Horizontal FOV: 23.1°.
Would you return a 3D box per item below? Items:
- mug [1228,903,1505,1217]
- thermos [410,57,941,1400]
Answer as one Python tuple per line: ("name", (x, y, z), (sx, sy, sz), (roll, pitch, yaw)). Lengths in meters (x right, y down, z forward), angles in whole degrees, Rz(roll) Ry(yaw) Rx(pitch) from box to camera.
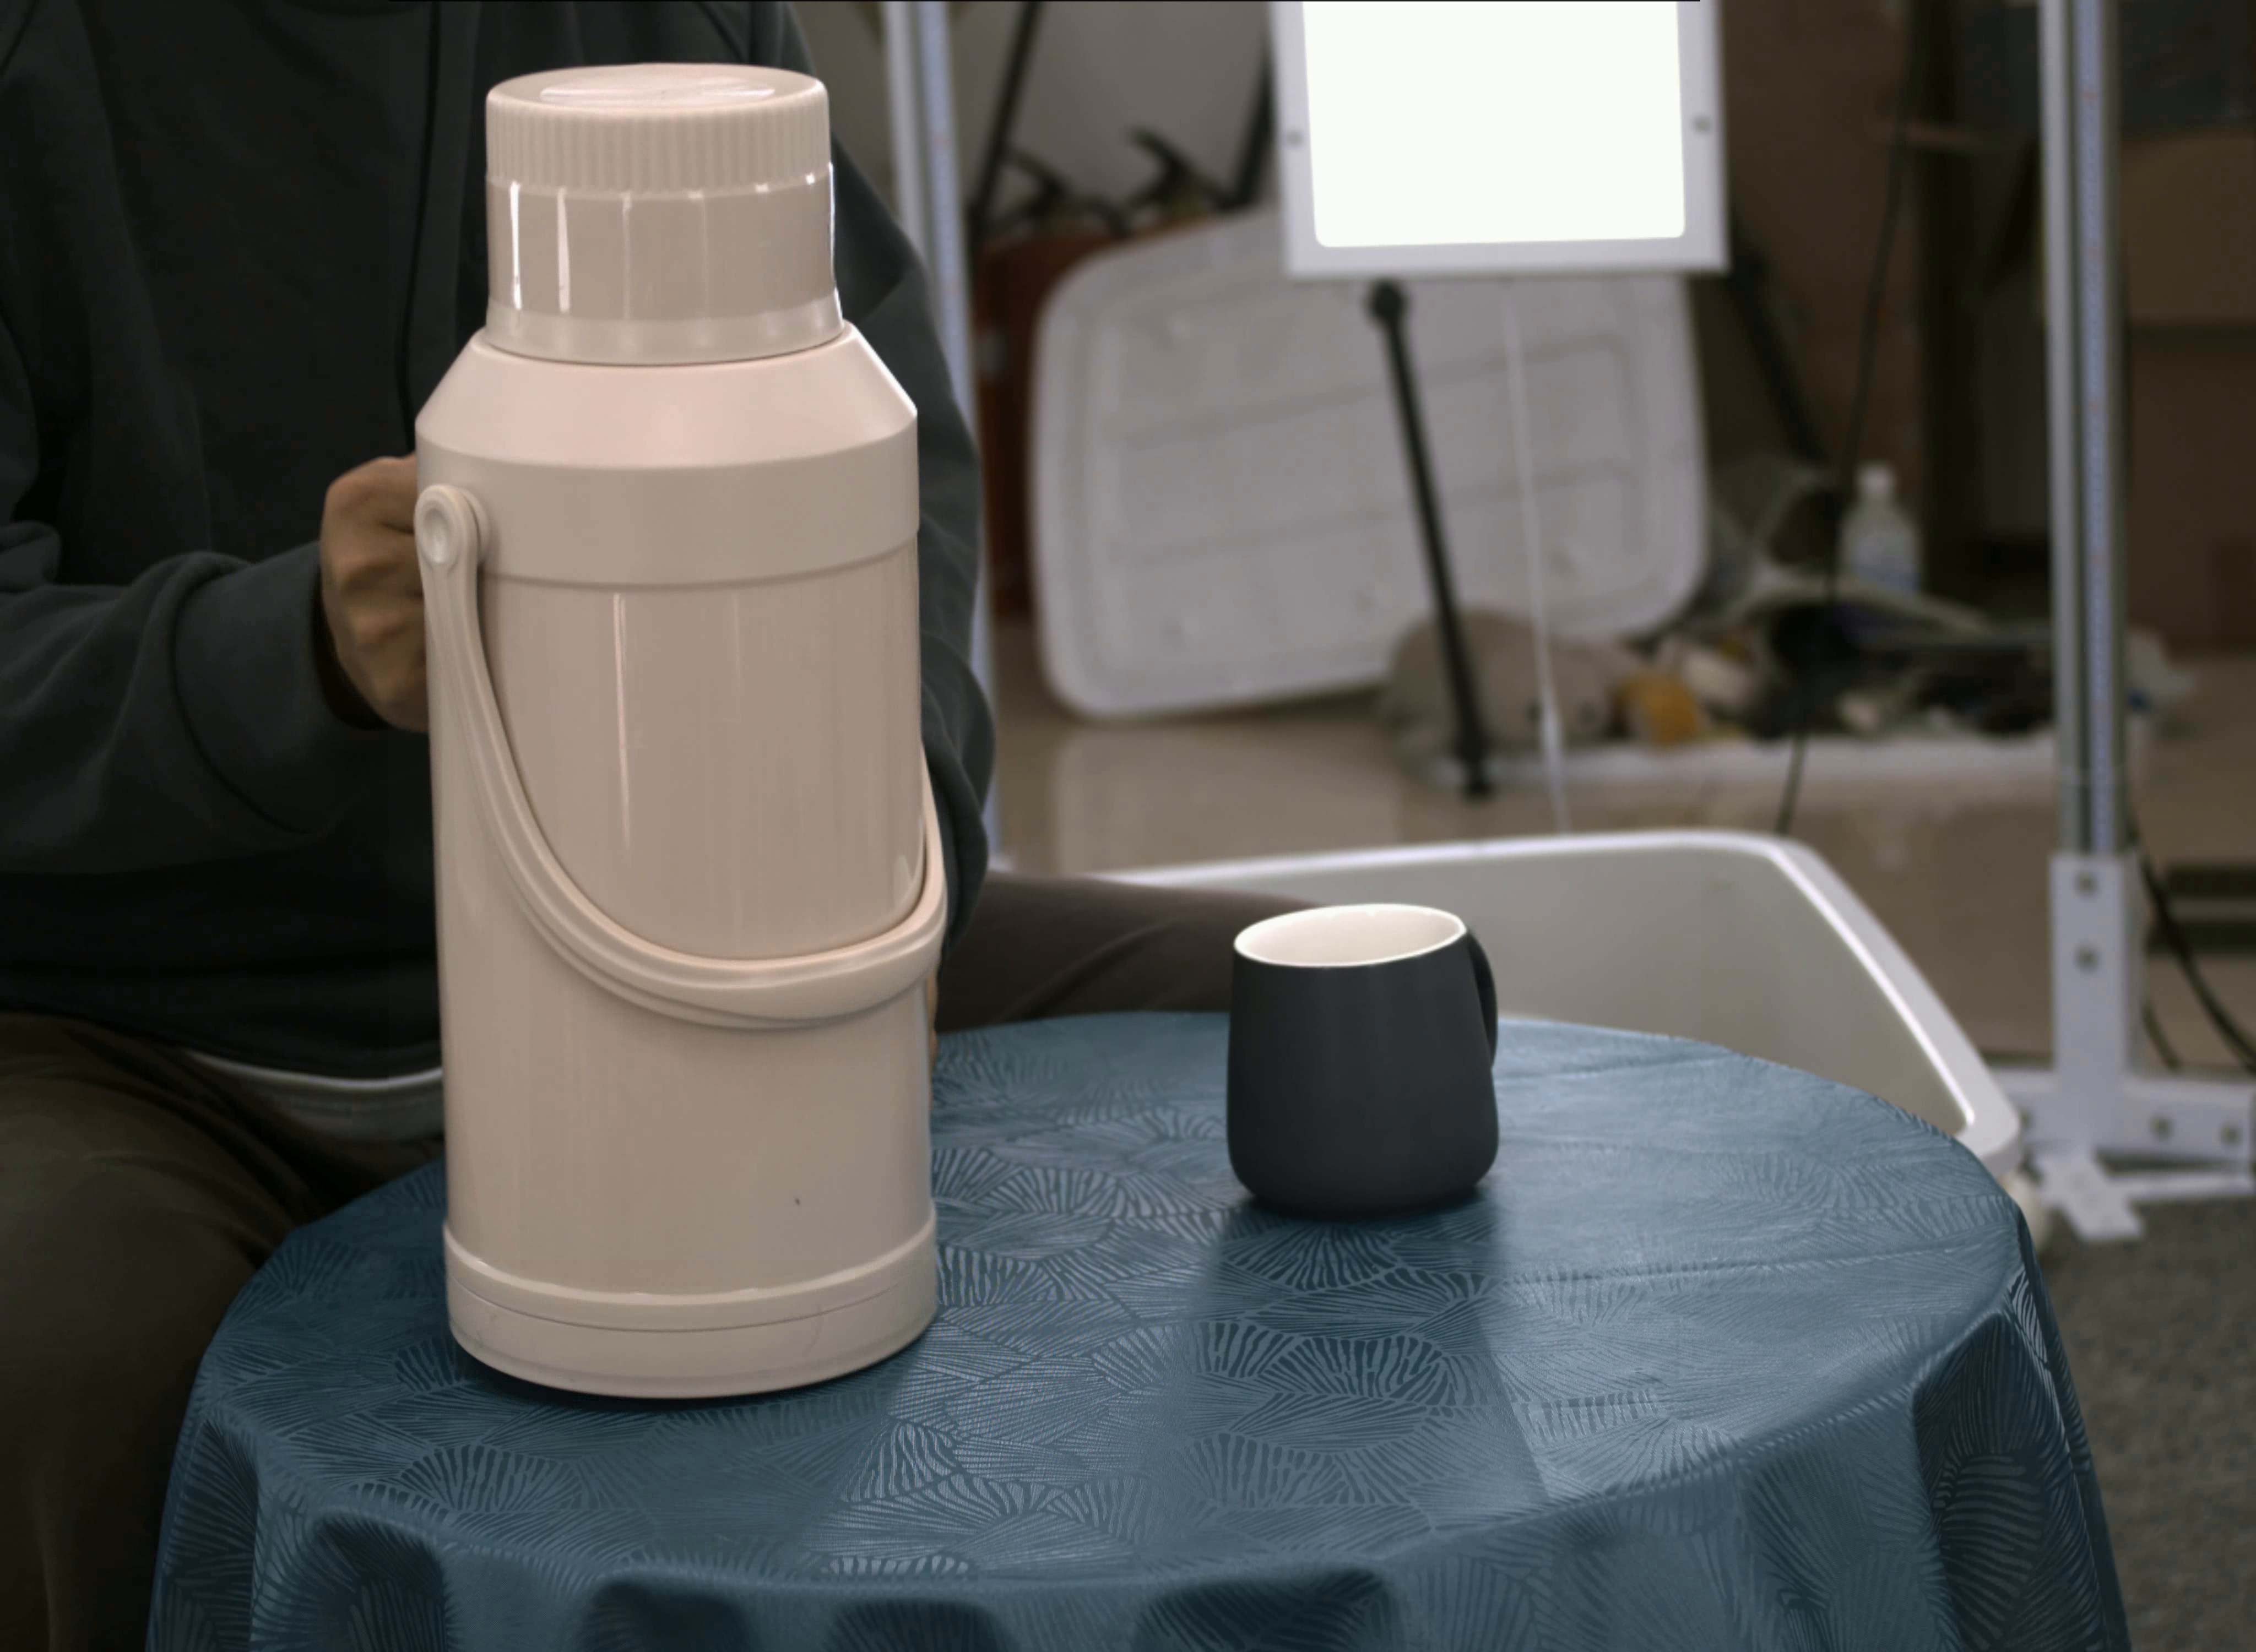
("mug", (0.089, 0.076, 1.882), (0.095, 0.090, 0.120), (7, 18, 41))
("thermos", (-0.152, -0.036, 1.746), (0.171, 0.408, 0.211), (-14, 20, -38))
